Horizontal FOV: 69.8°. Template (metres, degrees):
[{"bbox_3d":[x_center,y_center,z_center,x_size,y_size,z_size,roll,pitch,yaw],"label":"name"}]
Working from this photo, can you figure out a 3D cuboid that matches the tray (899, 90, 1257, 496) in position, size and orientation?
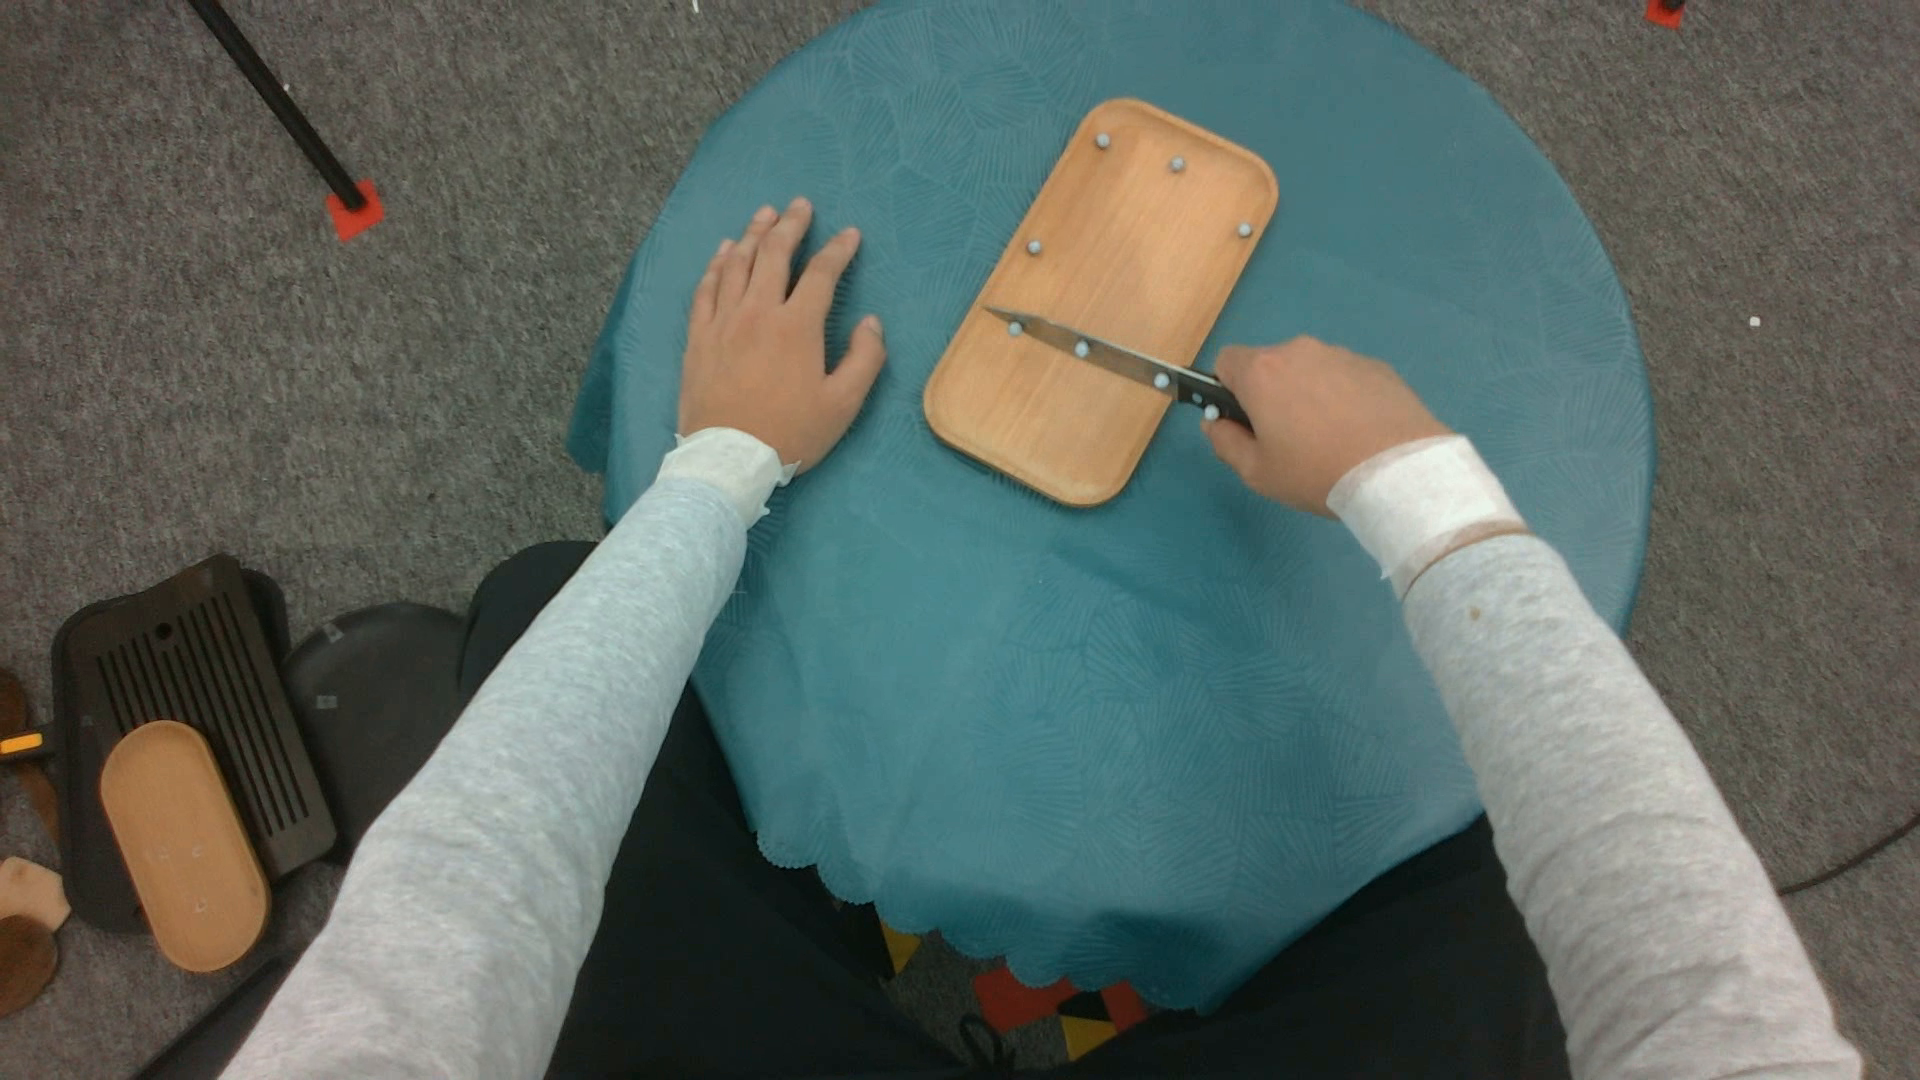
[{"bbox_3d":[0.072,-0.148,0.802,0.130,0.023,0.251,28,74,10],"label":"tray"}]

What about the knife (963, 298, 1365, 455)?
[{"bbox_3d":[0.099,-0.093,0.725,0.238,0.024,0.016,24,60,25],"label":"knife"}]
